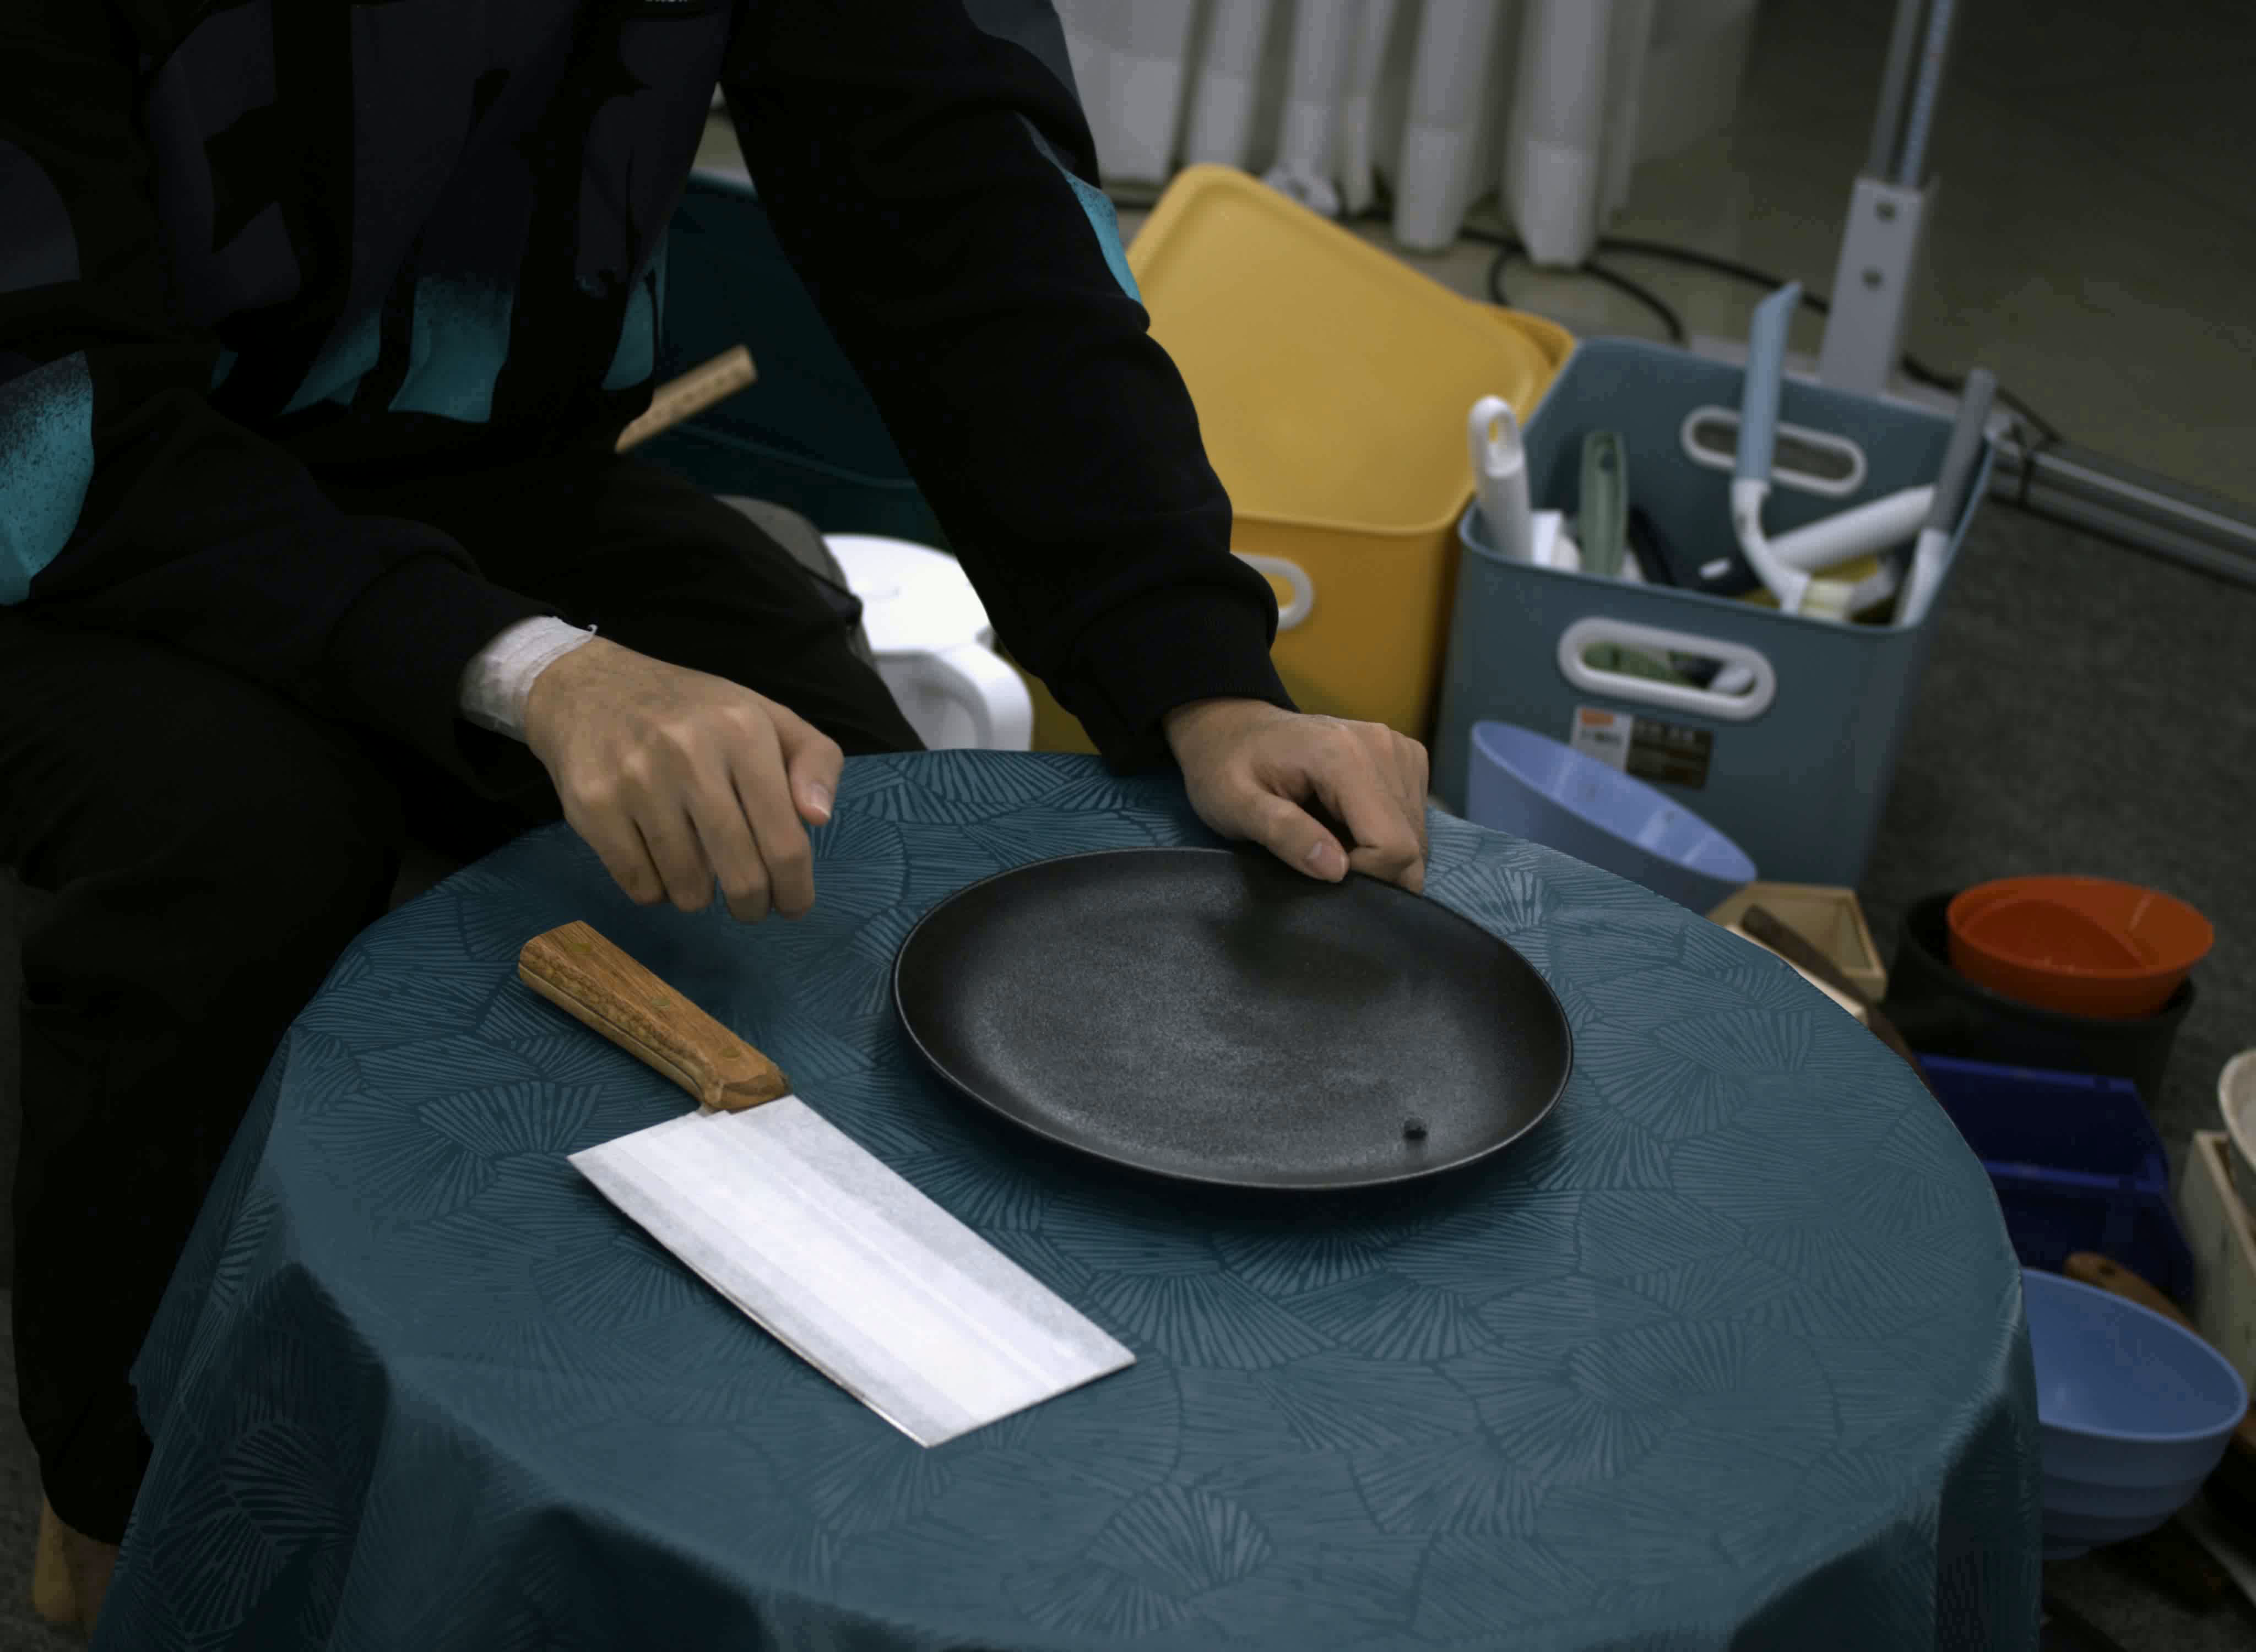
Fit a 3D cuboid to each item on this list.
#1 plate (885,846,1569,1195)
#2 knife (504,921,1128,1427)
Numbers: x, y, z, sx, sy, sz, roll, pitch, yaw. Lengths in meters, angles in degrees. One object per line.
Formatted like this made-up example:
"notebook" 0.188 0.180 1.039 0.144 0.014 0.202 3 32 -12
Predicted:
"plate" 0.035 0.073 1.882 0.243 0.023 0.246 5 27 -3
"knife" -0.128 0.115 1.774 0.092 0.021 0.308 -19 39 -37
